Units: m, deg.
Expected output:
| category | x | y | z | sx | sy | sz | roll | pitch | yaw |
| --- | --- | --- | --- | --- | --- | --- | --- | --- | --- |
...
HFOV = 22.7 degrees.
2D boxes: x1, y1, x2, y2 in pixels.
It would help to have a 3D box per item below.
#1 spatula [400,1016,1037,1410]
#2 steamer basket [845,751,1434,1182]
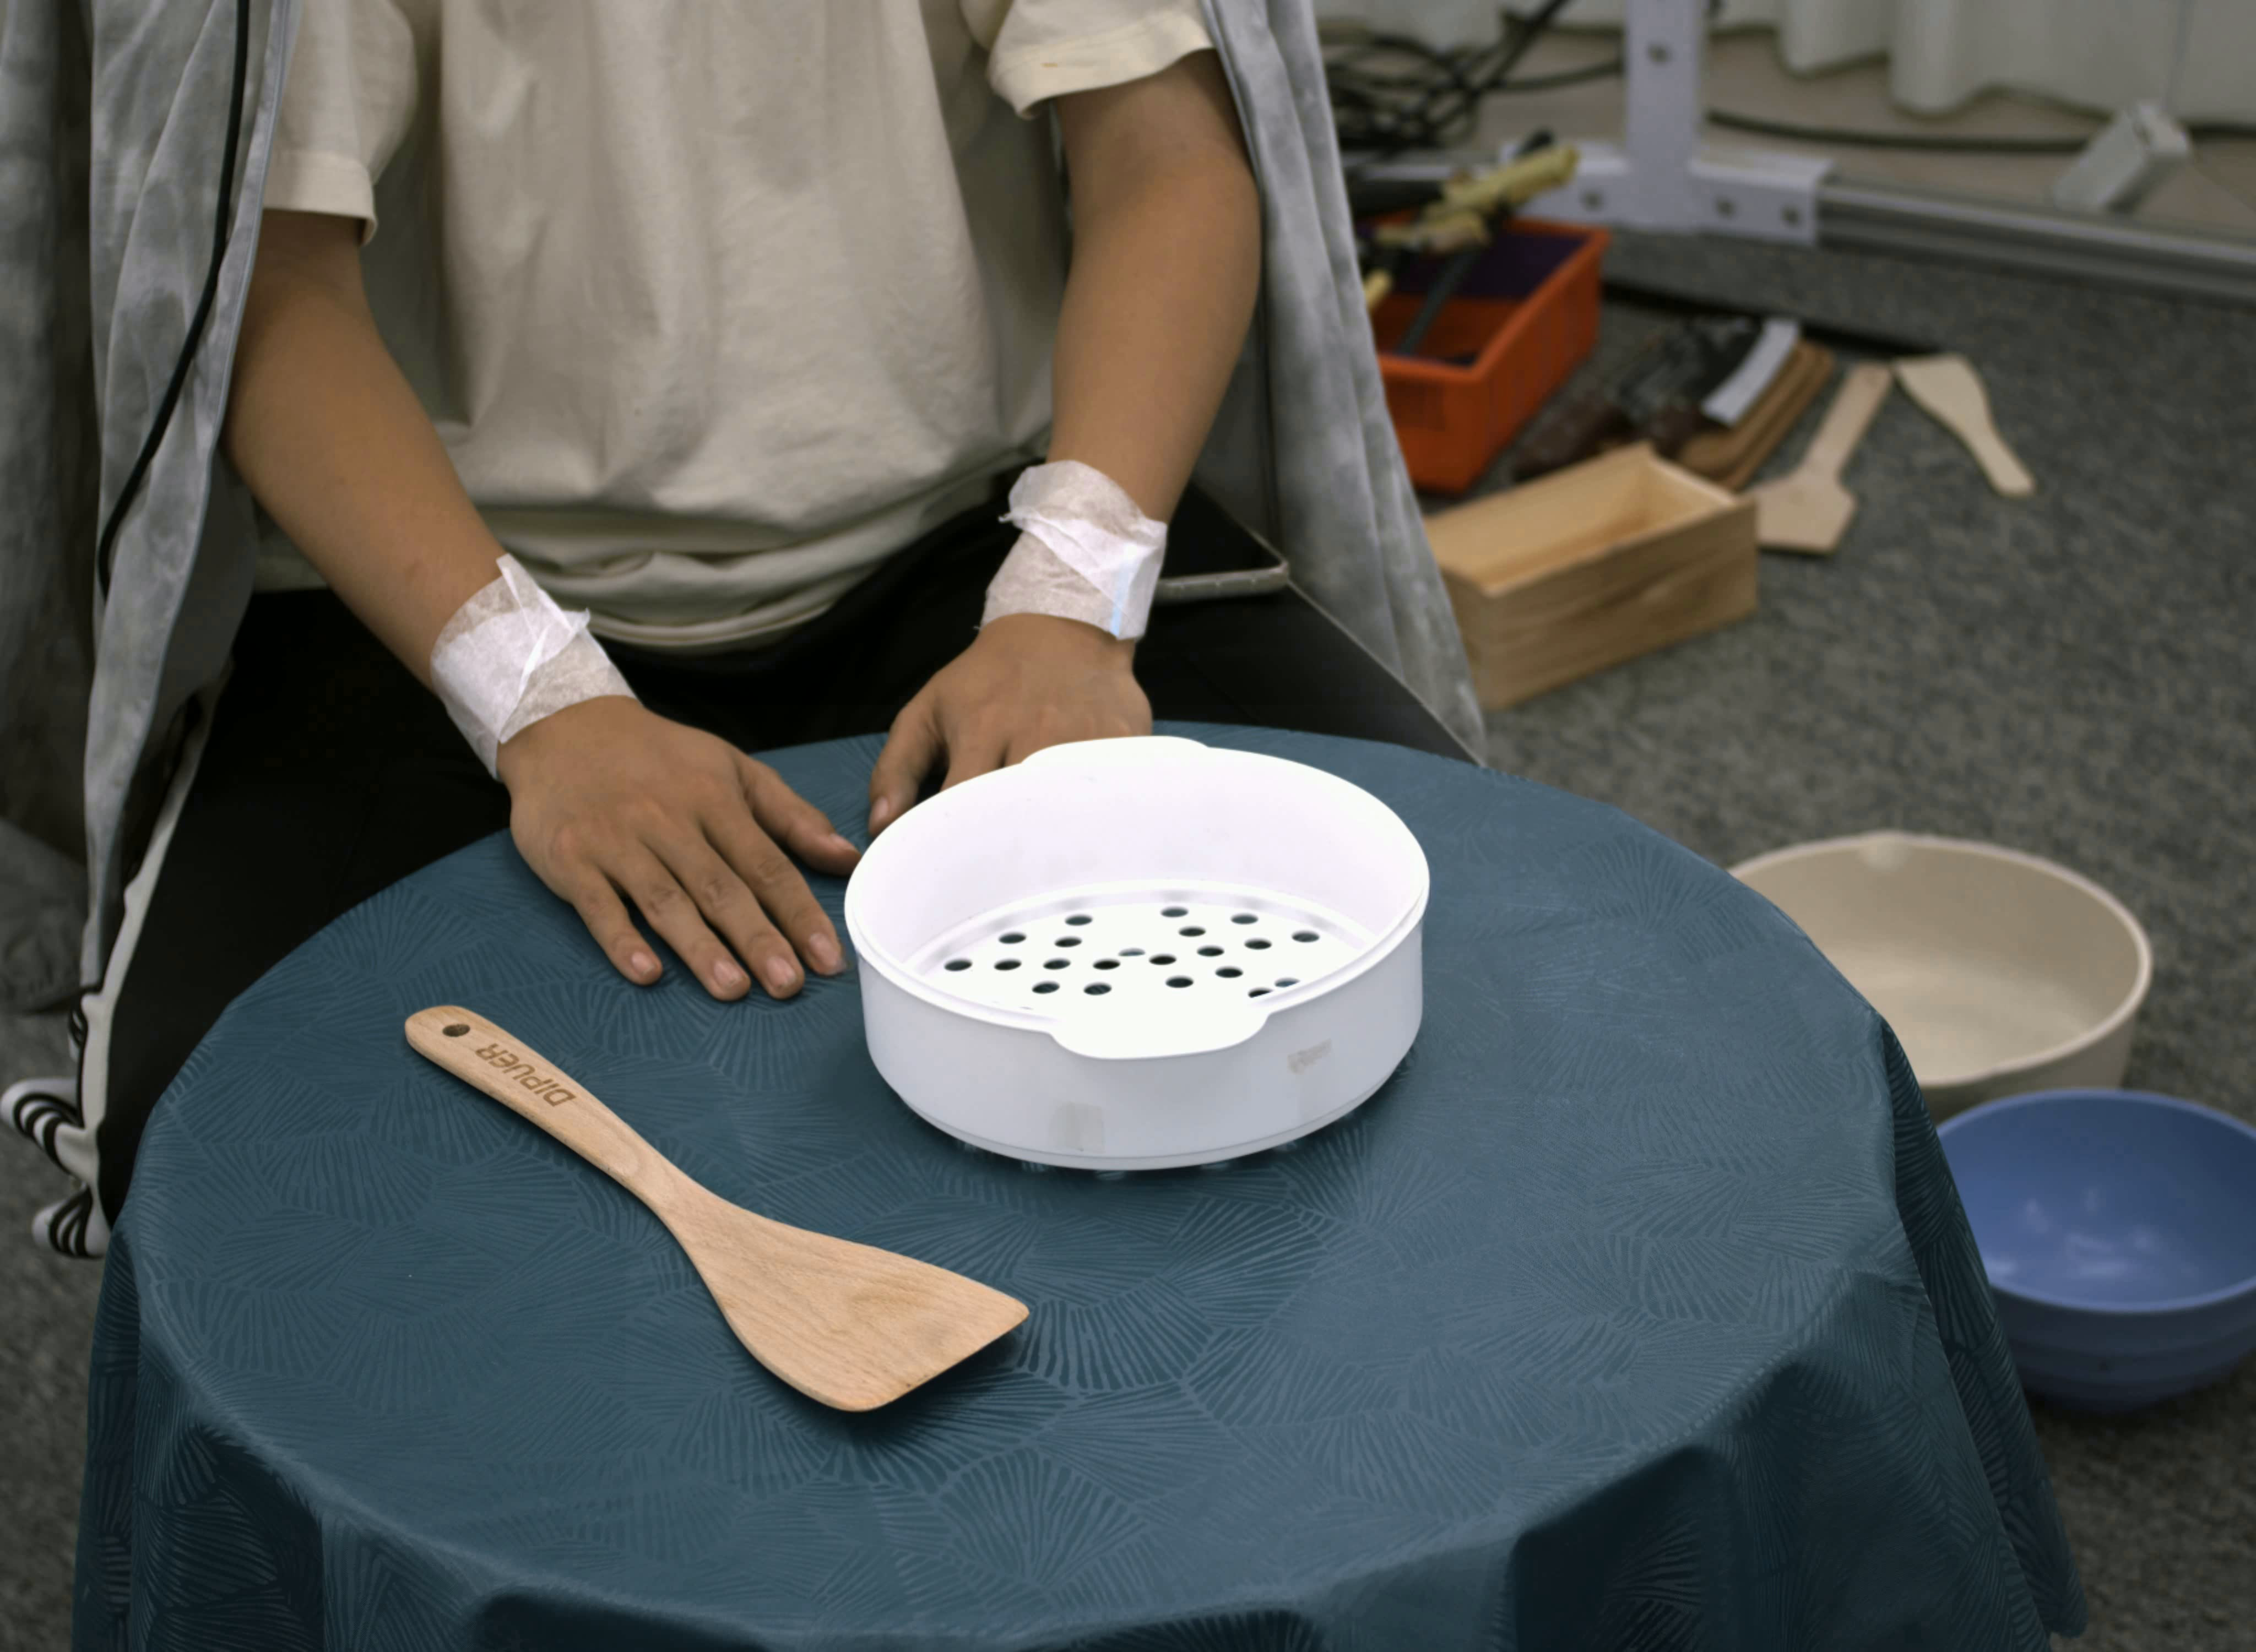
| category | x | y | z | sx | sy | sz | roll | pitch | yaw |
| --- | --- | --- | --- | --- | --- | --- | --- | --- | --- |
| spatula | -0.149 | 0.120 | 1.858 | 0.080 | 0.016 | 0.328 | -21 | 32 | -33 |
| steamer basket | 0.005 | 0.049 | 1.929 | 0.201 | 0.068 | 0.234 | -3 | 26 | -3 |
